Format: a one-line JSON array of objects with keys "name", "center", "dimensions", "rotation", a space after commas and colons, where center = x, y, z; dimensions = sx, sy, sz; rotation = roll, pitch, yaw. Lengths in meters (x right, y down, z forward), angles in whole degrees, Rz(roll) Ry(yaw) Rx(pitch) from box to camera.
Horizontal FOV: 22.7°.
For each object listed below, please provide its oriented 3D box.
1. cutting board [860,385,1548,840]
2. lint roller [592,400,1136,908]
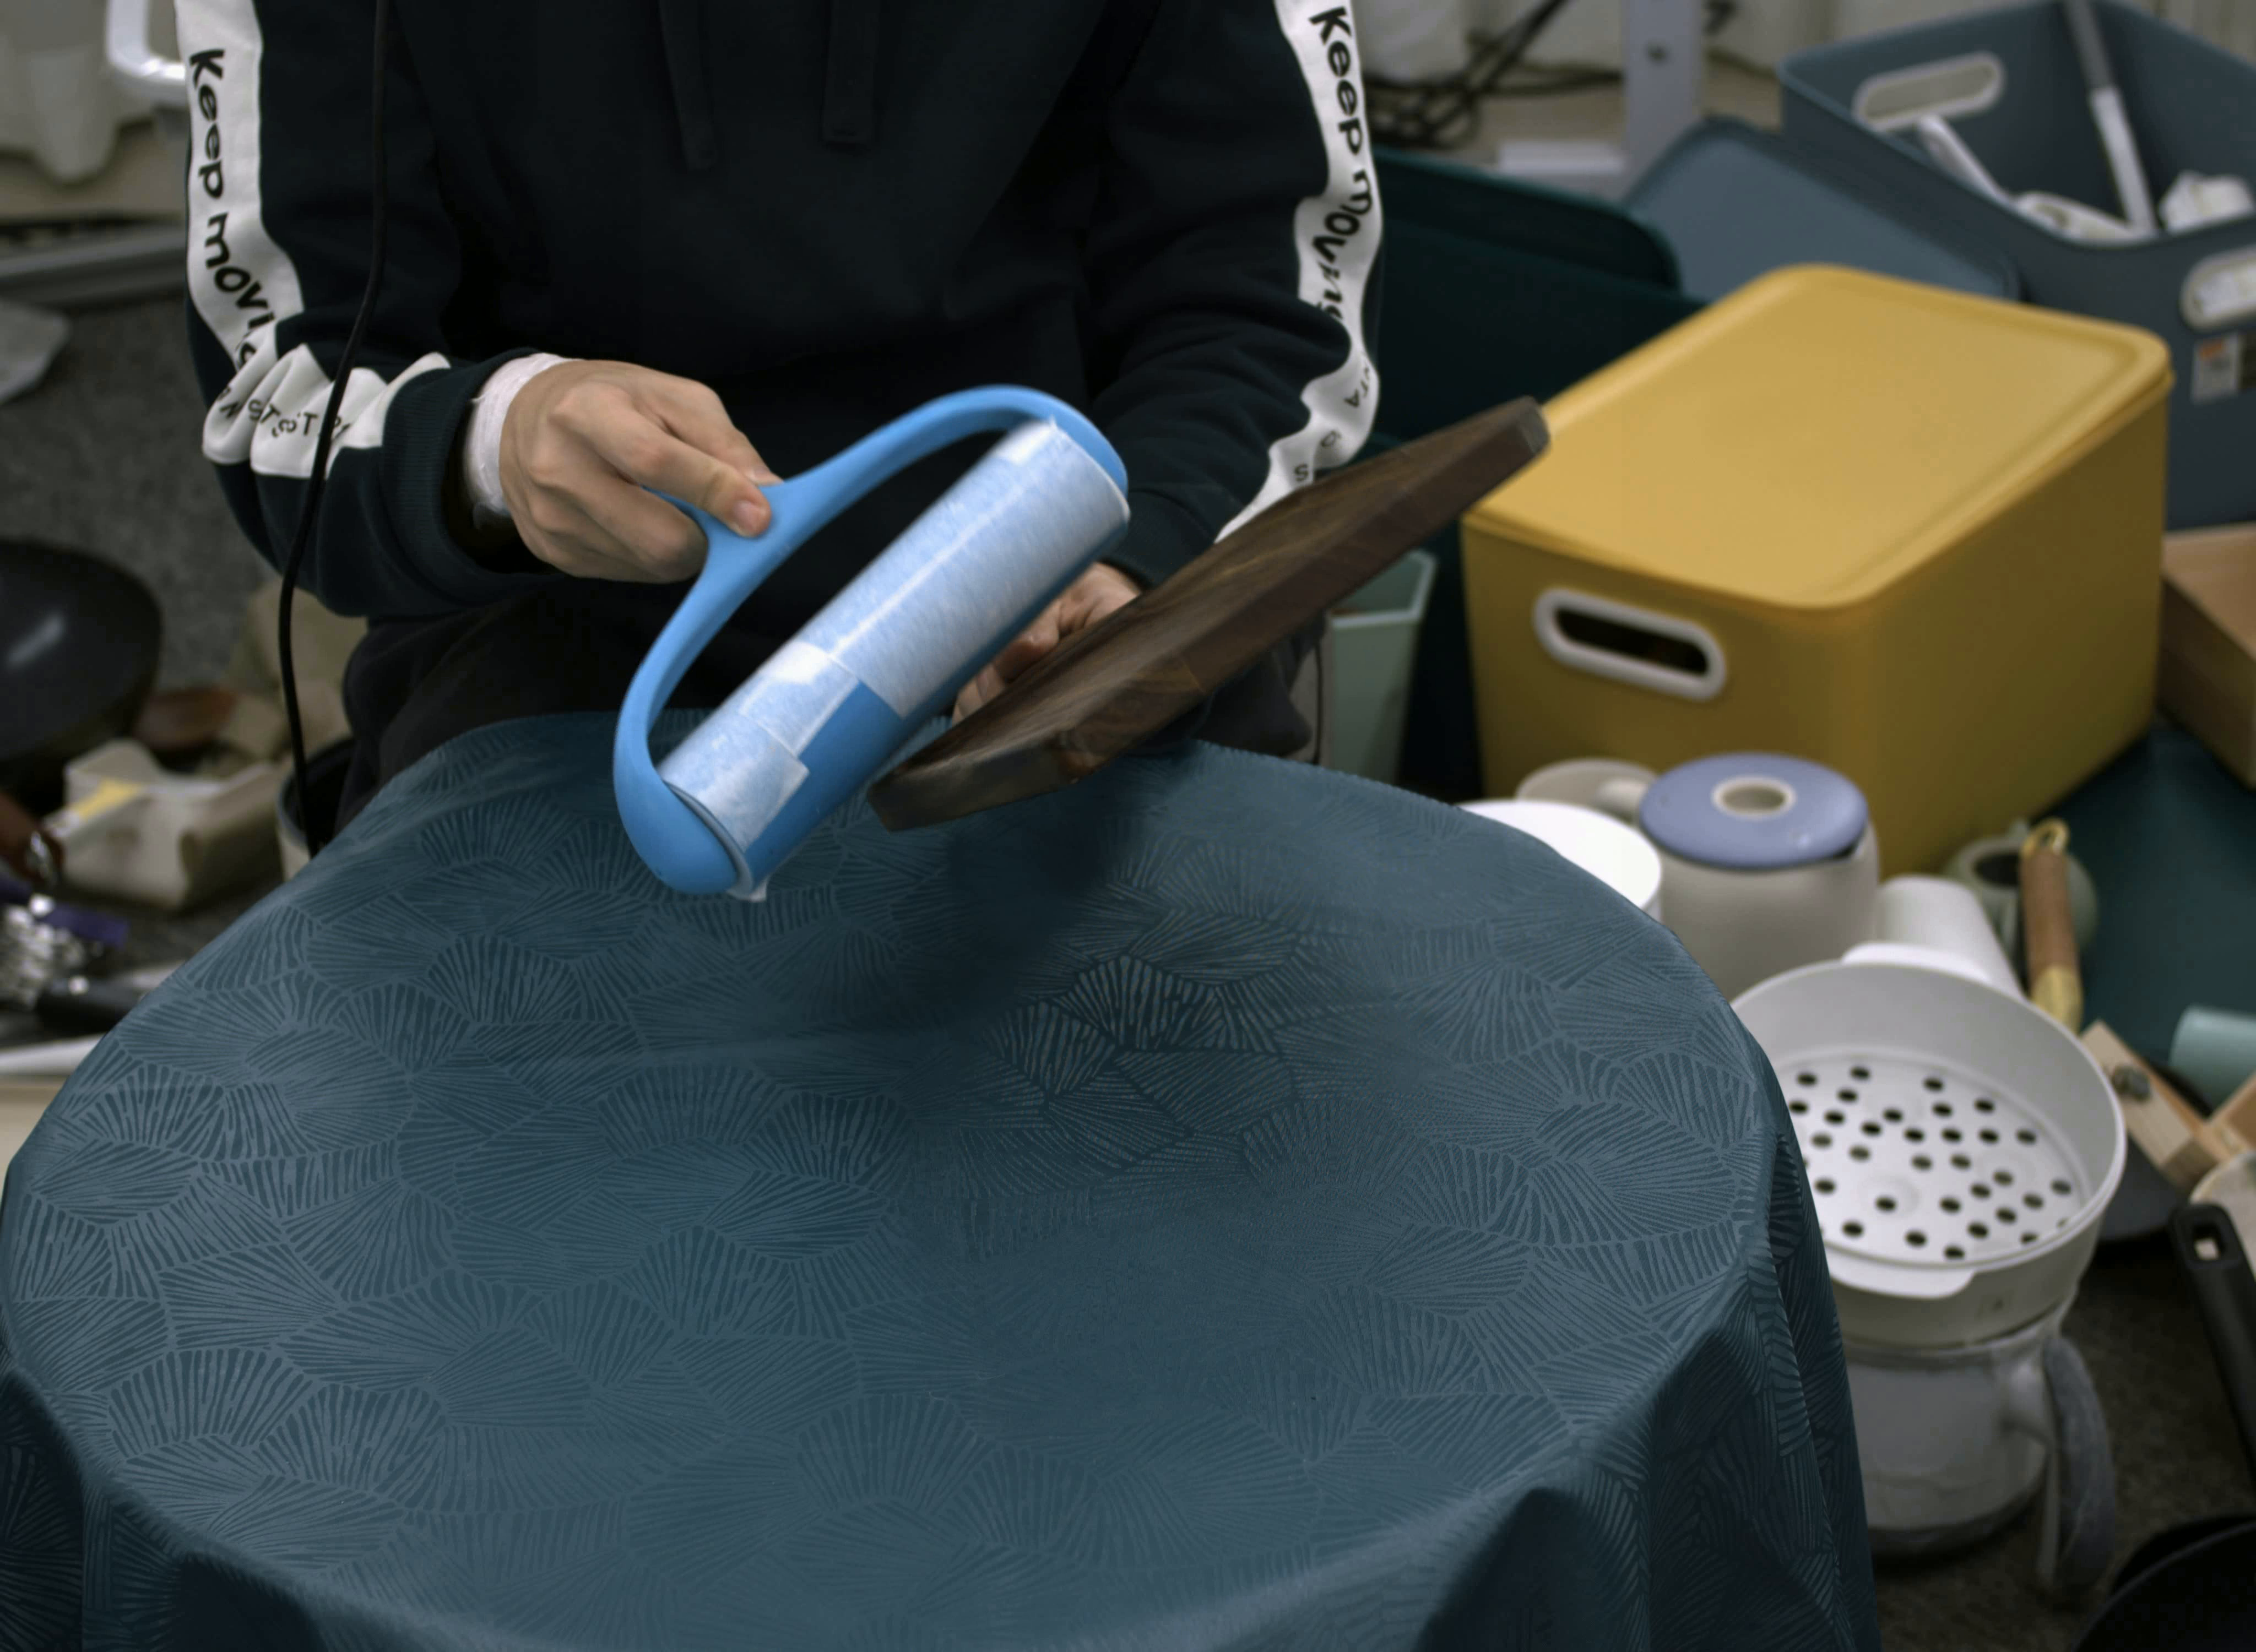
[{"name": "cutting board", "center": [0.006, -0.064, 1.917], "dimensions": [0.202, 0.023, 0.349], "rotation": [-36, 6, -17]}, {"name": "lint roller", "center": [-0.125, -0.084, 1.966], "dimensions": [0.180, 0.067, 0.232], "rotation": [31, 64, 25]}]
